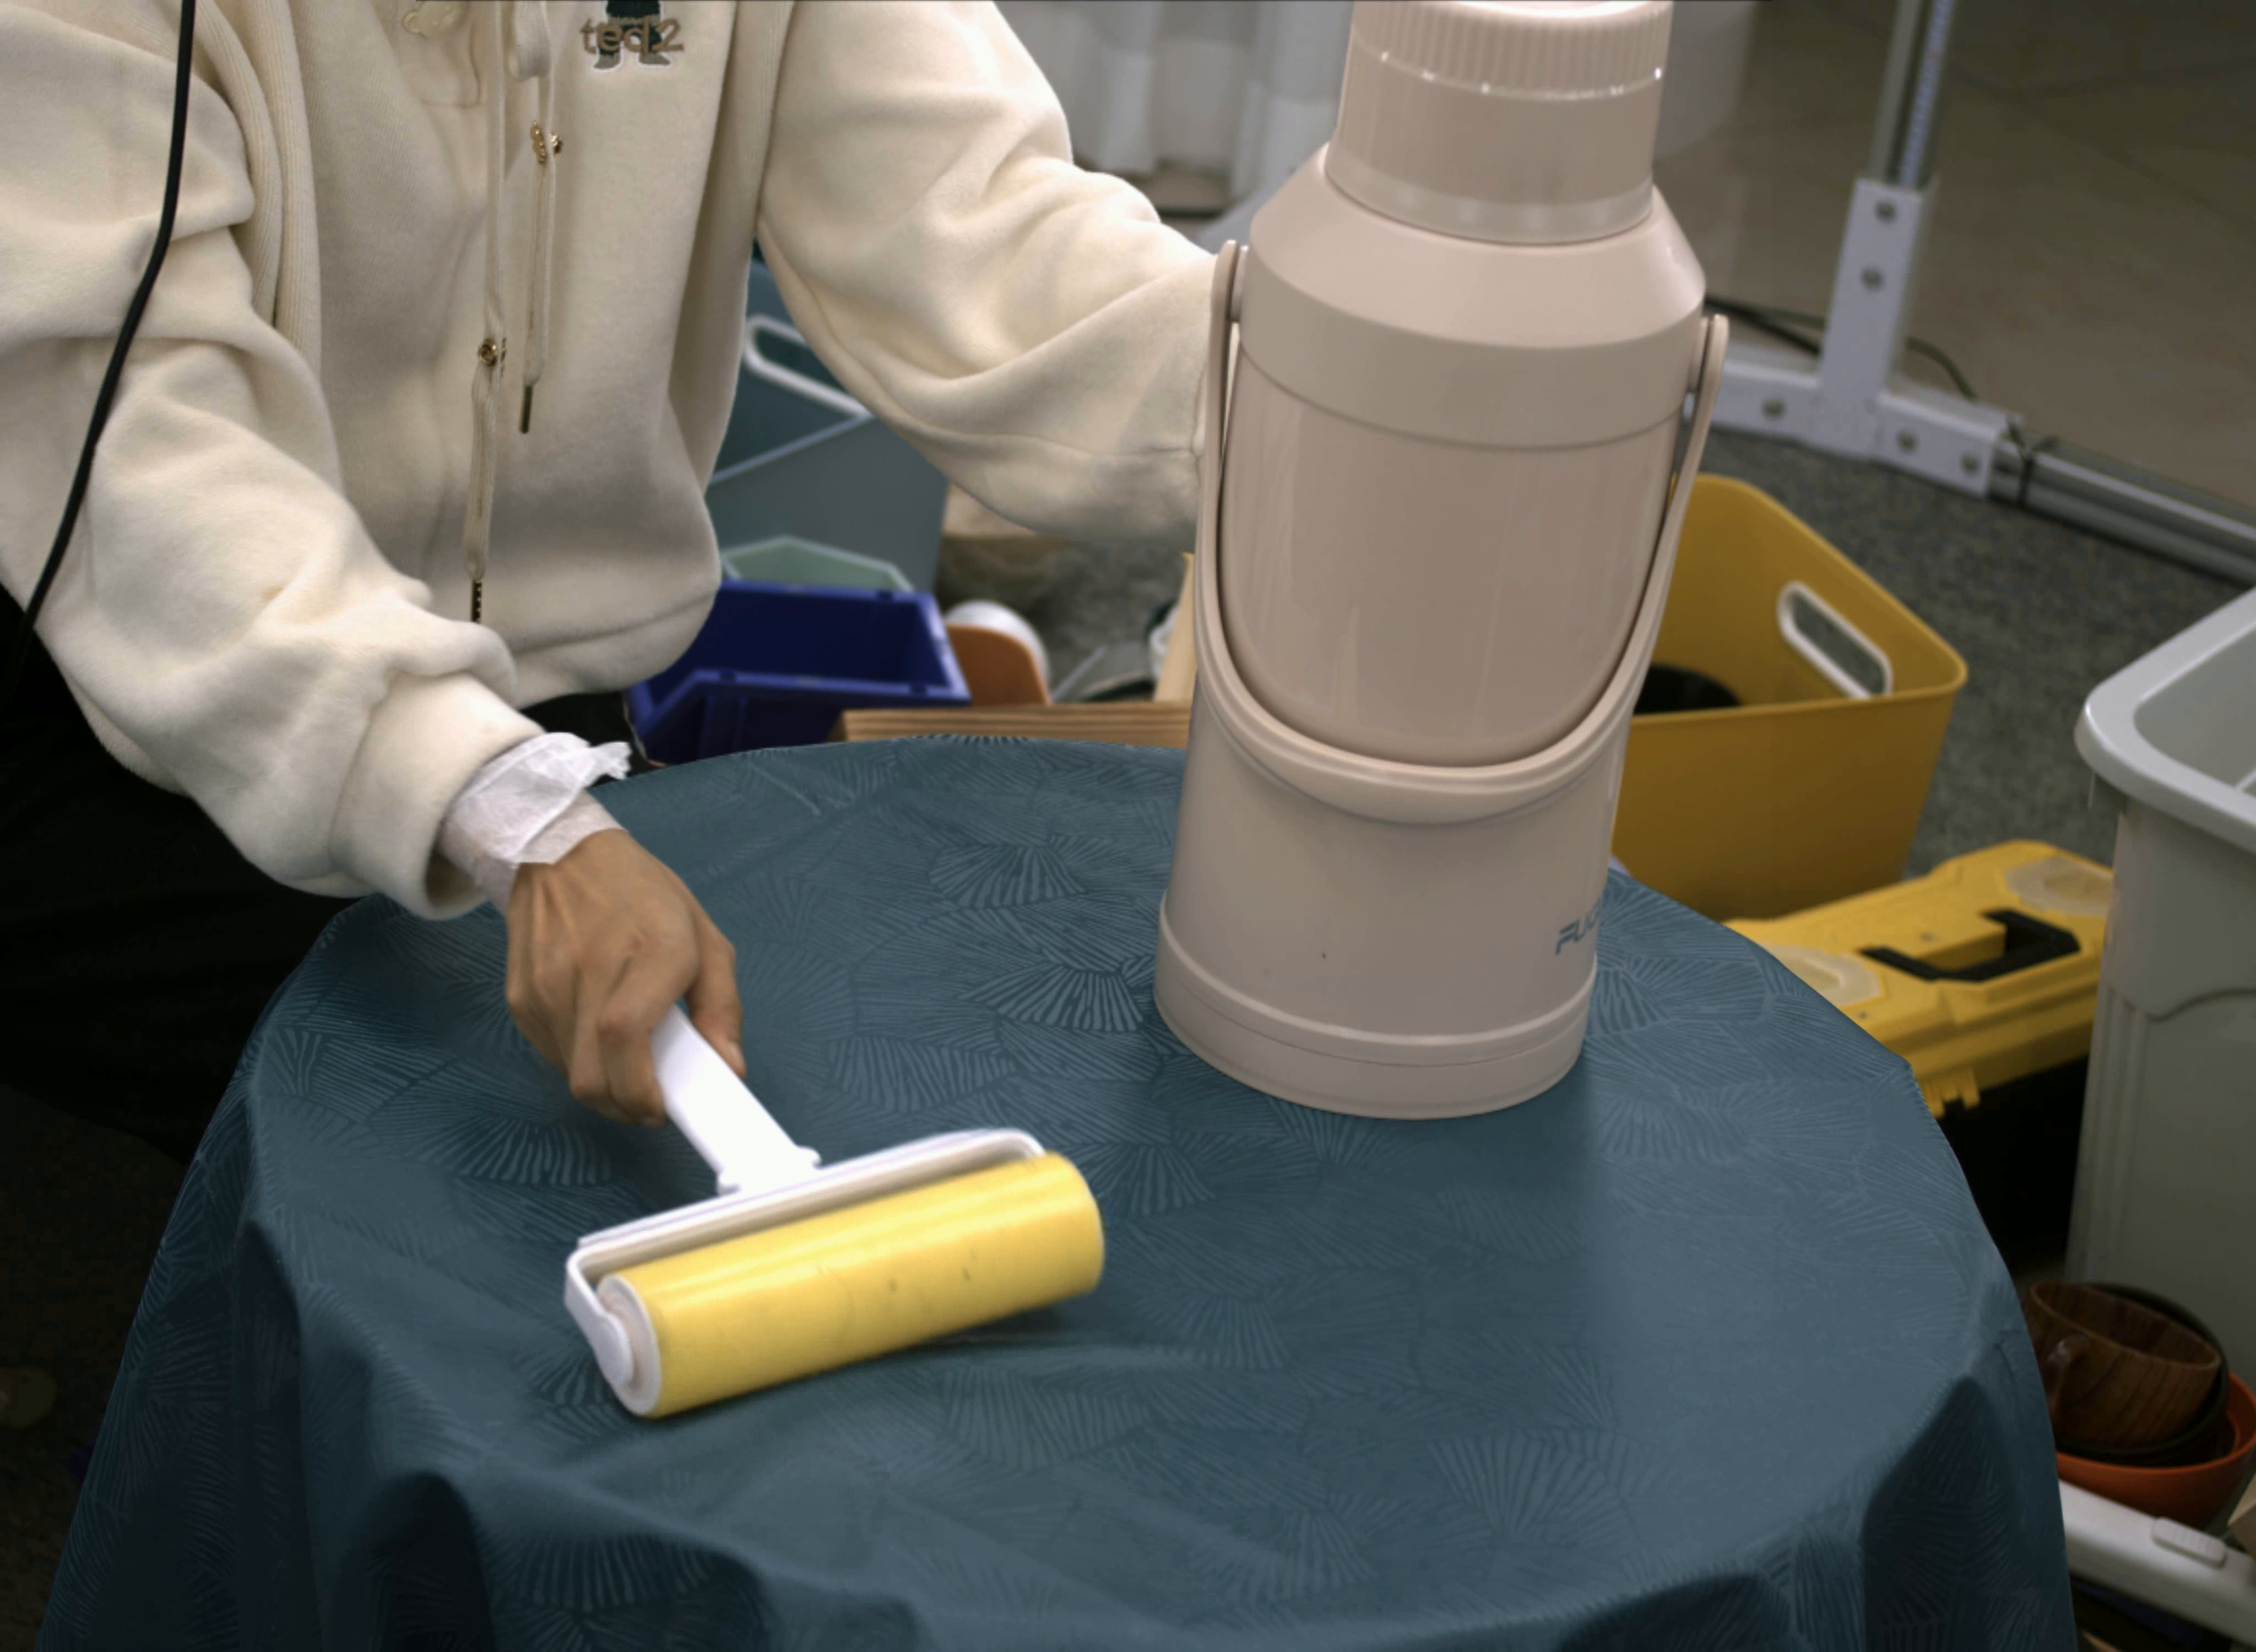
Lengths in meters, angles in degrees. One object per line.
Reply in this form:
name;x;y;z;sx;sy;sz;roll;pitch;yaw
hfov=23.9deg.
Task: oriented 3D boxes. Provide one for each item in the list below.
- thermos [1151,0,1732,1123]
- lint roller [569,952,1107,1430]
thermos;0.112;-0.113;1.855;0.175;0.405;0.208;9;26;5
lint roller;-0.122;0.099;1.719;0.173;0.051;0.194;-14;53;-30
